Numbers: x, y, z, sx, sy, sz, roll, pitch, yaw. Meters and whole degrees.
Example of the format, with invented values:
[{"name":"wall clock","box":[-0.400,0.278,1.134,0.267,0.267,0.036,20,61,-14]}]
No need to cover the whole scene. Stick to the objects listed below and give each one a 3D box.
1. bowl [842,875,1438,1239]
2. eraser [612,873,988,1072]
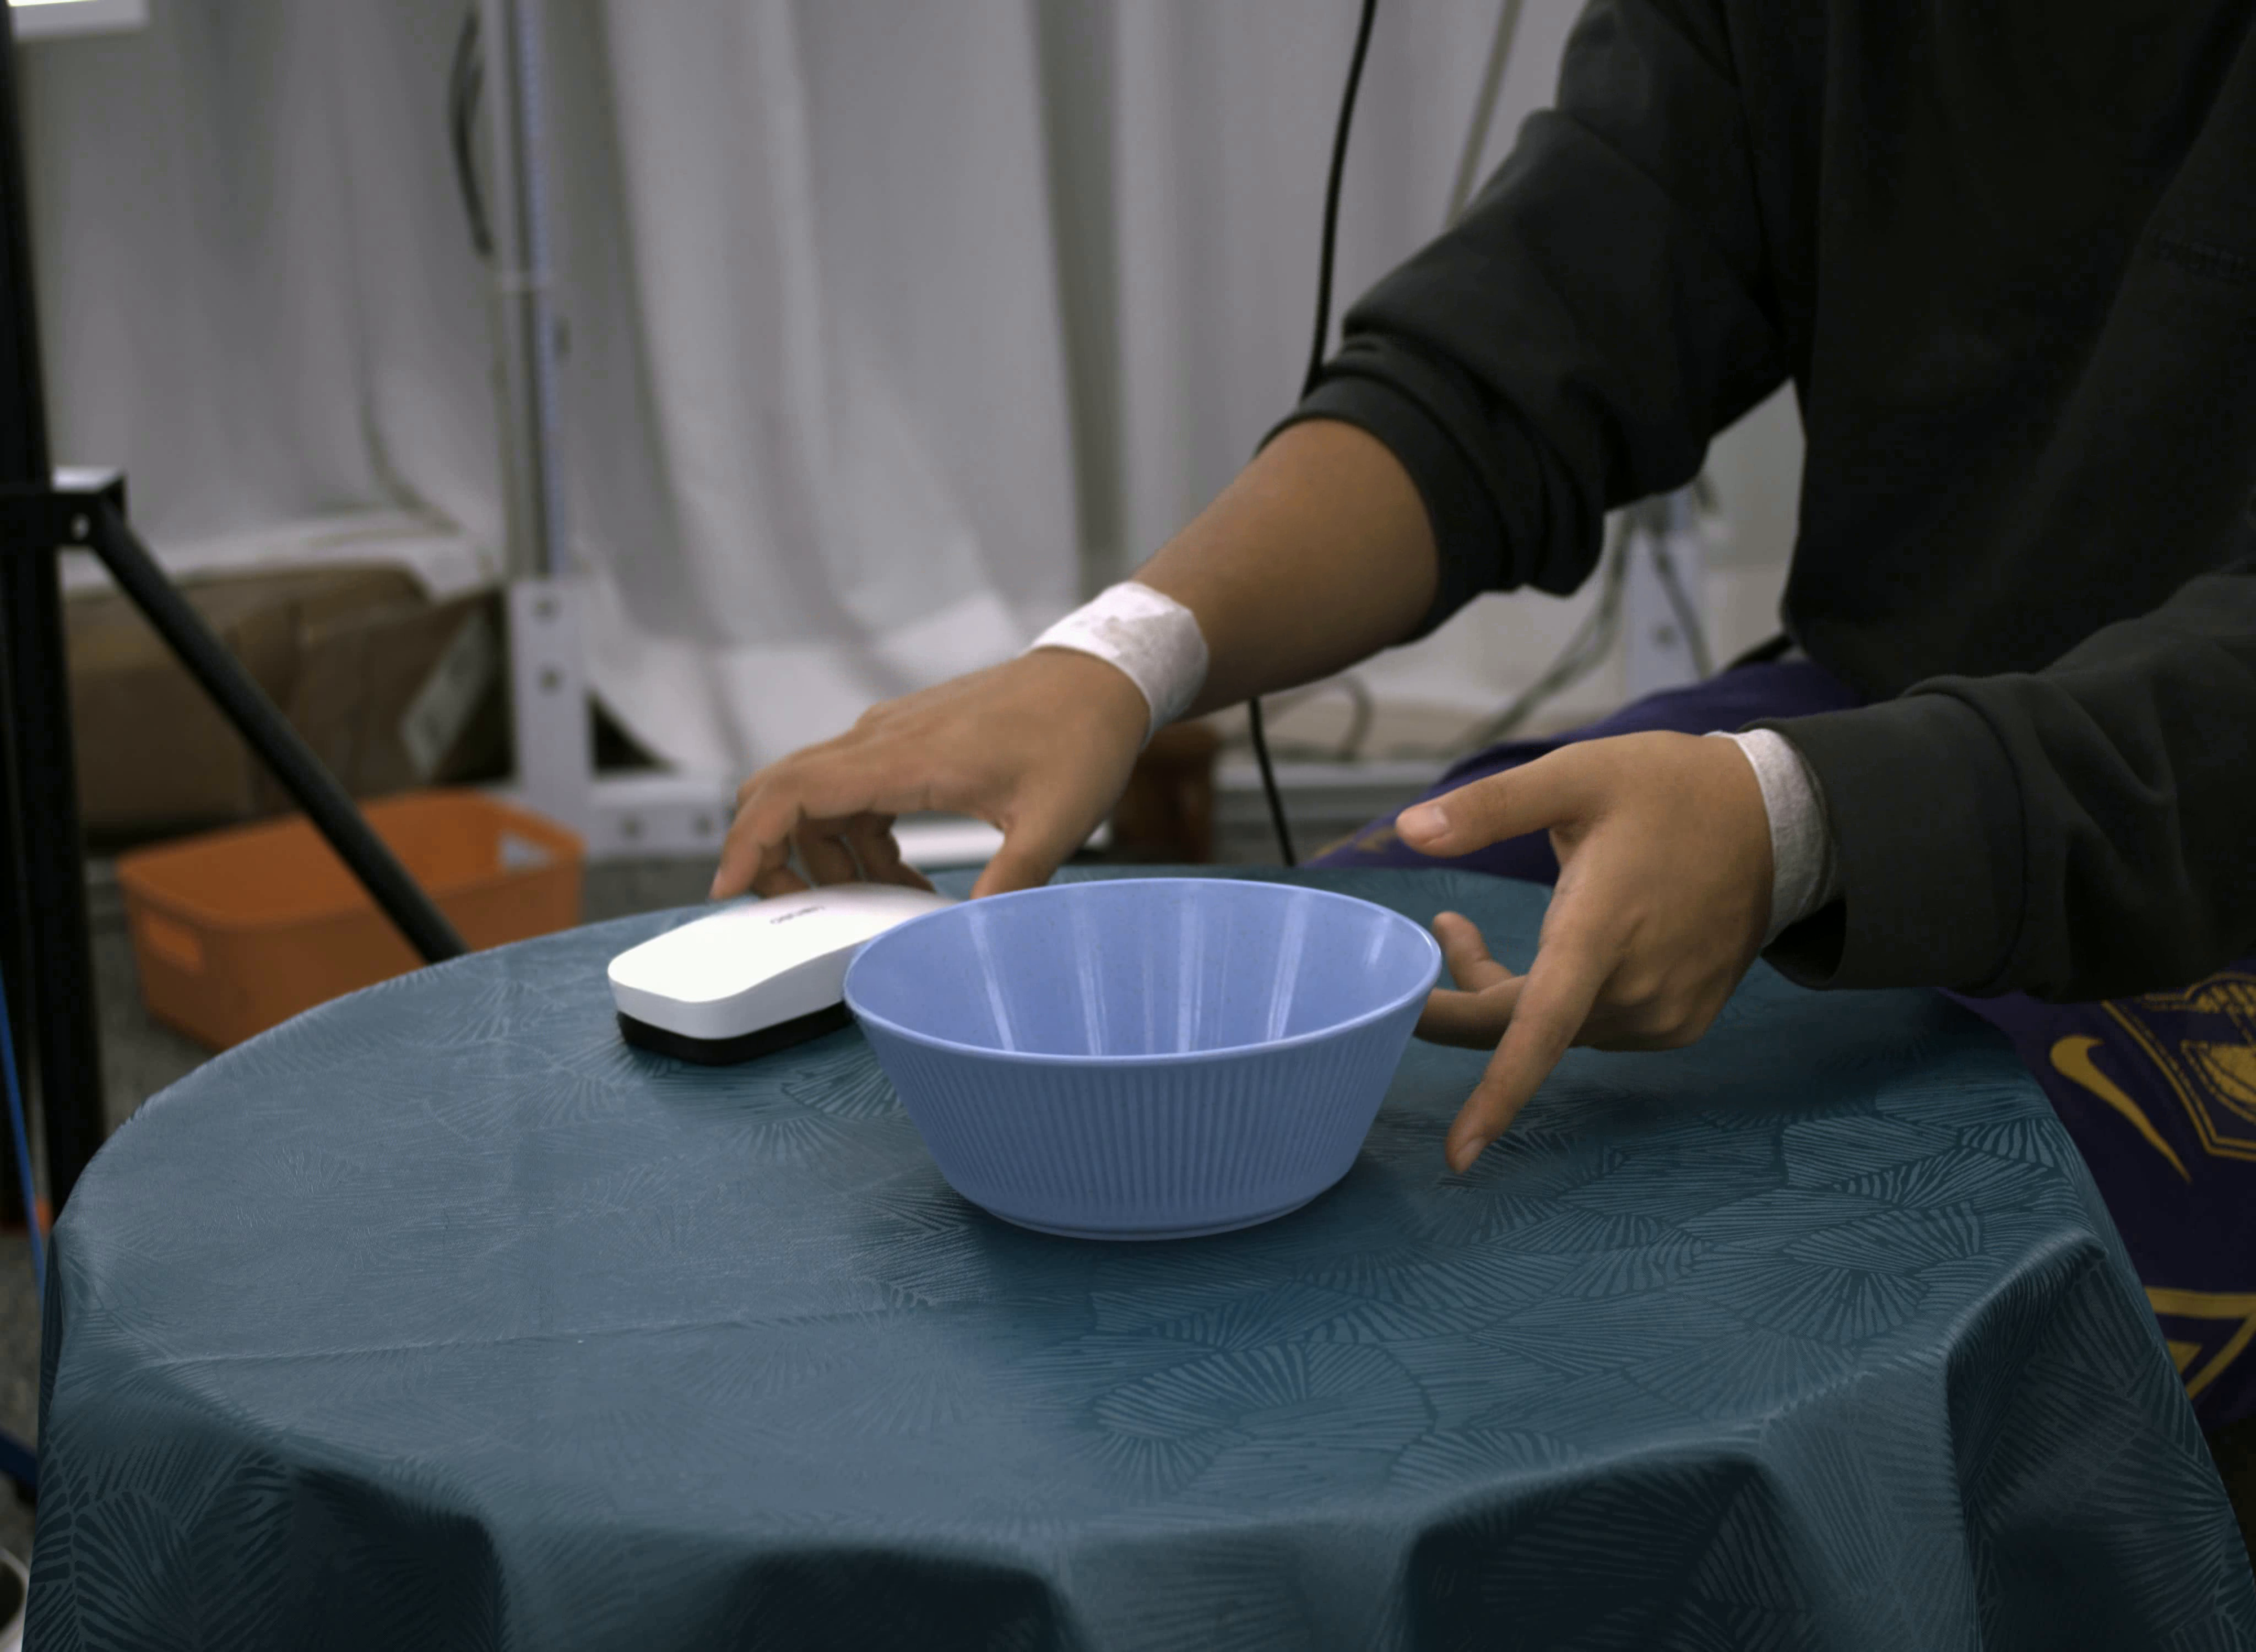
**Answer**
[{"name":"bowl","box":[0.004,0.070,1.562,0.175,0.070,0.177,-3,16,-1]},{"name":"eraser","box":[-0.104,0.045,1.742,0.128,0.034,0.065,-19,24,-39]}]
